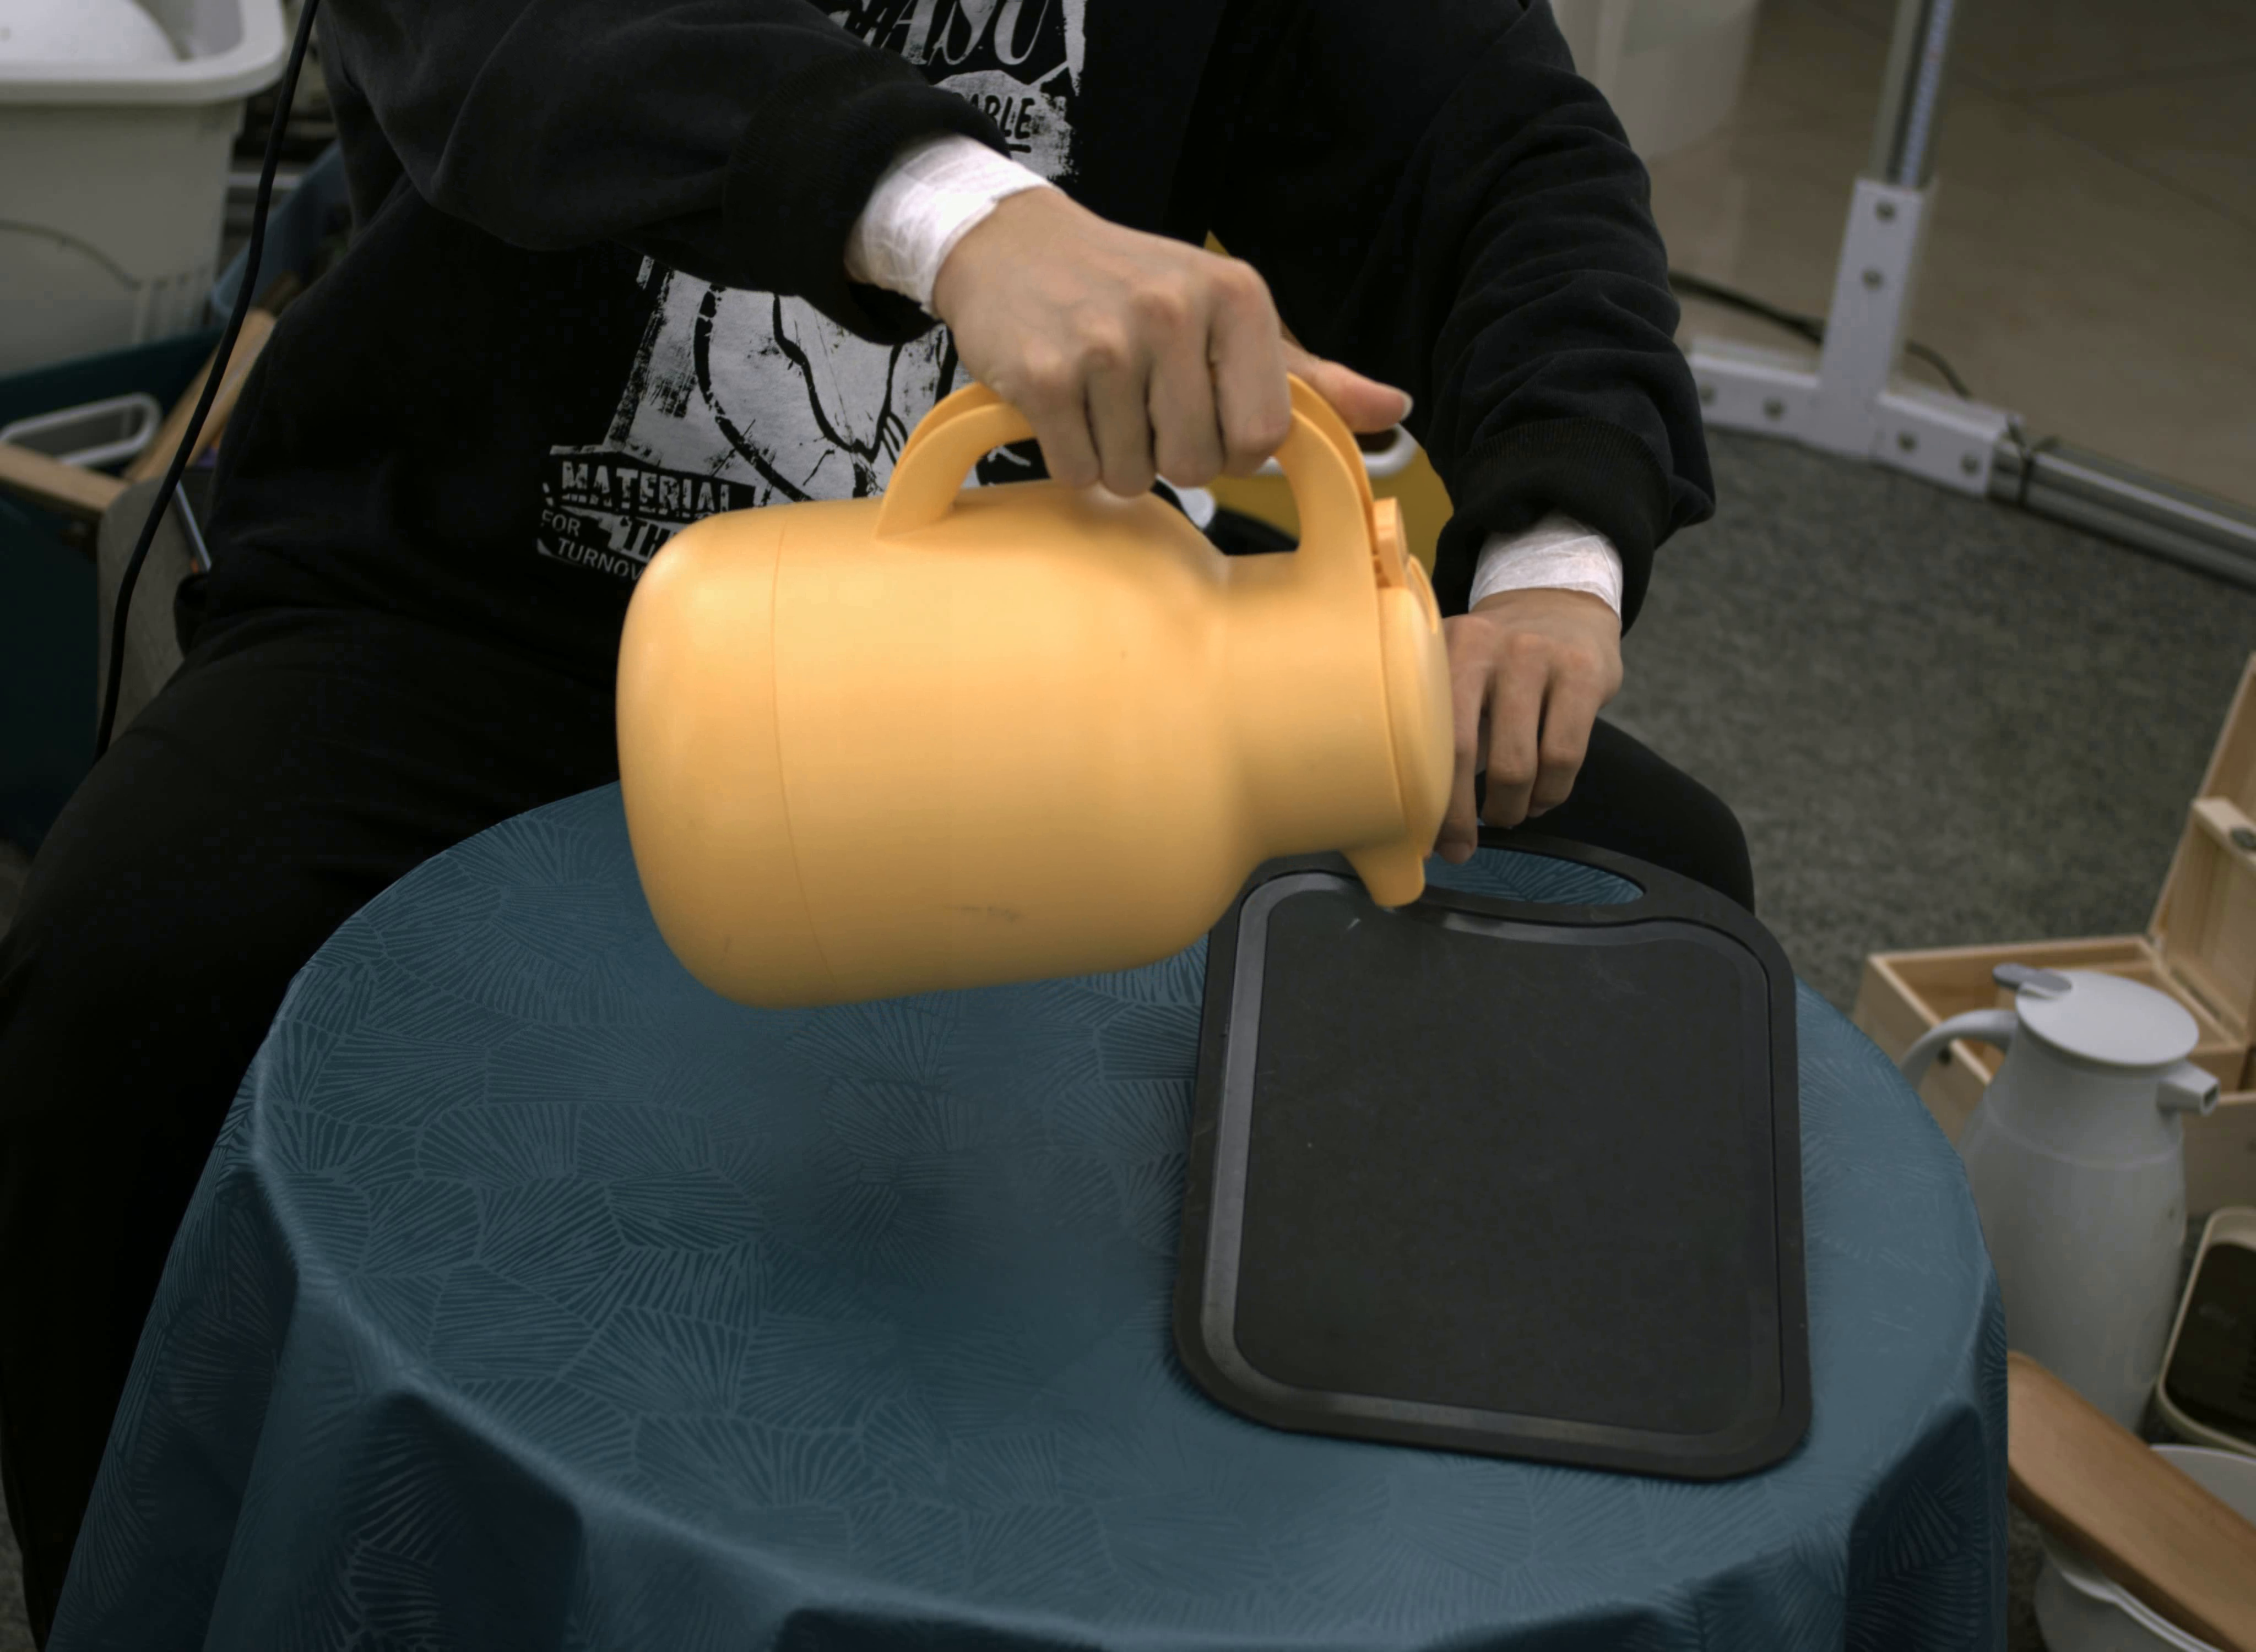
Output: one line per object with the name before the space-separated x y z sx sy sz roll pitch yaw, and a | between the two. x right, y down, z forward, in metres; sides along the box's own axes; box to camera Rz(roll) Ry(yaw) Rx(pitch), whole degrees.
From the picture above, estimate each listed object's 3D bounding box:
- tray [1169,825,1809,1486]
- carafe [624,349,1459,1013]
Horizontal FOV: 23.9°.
tray | 0.126 0.100 1.808 0.210 0.010 0.327 8 38 1
carafe | -0.028 -0.049 1.702 0.260 0.201 0.164 -7 24 6
